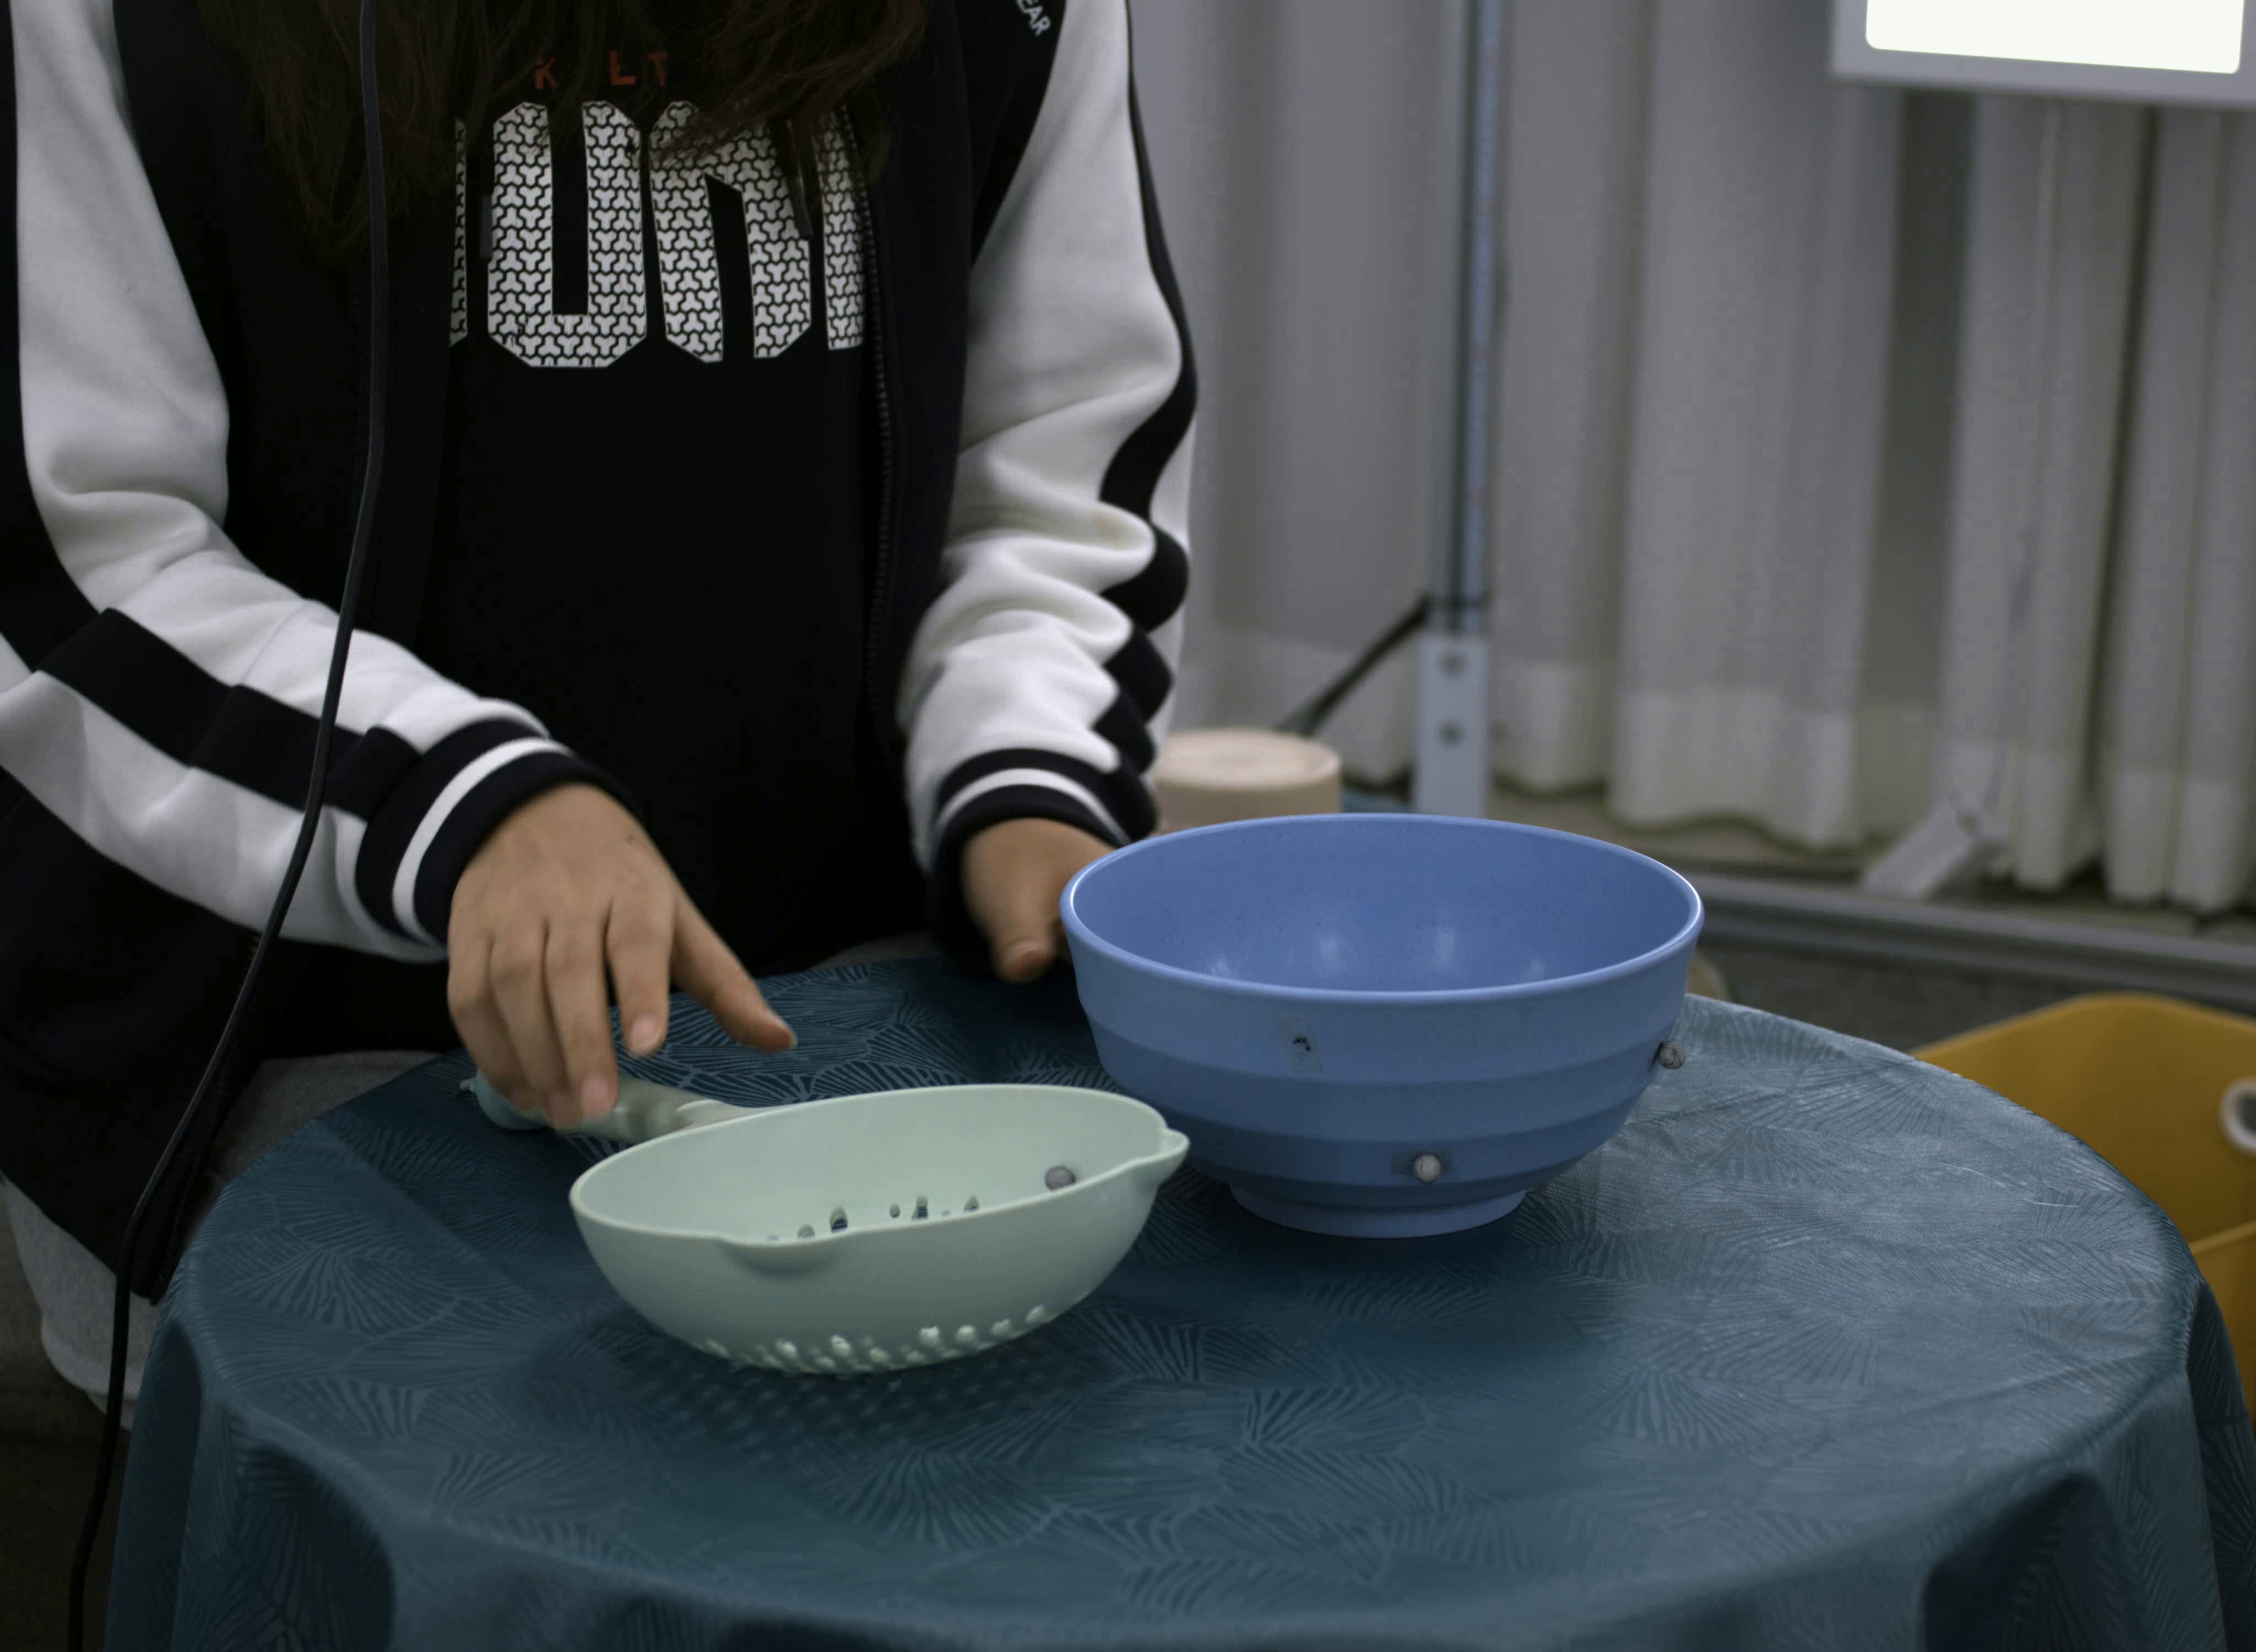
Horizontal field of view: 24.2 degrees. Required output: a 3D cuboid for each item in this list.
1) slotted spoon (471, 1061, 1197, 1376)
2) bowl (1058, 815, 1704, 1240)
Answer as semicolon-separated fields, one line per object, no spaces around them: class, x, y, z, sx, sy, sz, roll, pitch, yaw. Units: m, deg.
slotted spoon;-0.119;0.099;1.558;0.170;0.076;0.354;-9;17;-30
bowl;0.077;0.067;1.611;0.196;0.096;0.195;0;16;1
